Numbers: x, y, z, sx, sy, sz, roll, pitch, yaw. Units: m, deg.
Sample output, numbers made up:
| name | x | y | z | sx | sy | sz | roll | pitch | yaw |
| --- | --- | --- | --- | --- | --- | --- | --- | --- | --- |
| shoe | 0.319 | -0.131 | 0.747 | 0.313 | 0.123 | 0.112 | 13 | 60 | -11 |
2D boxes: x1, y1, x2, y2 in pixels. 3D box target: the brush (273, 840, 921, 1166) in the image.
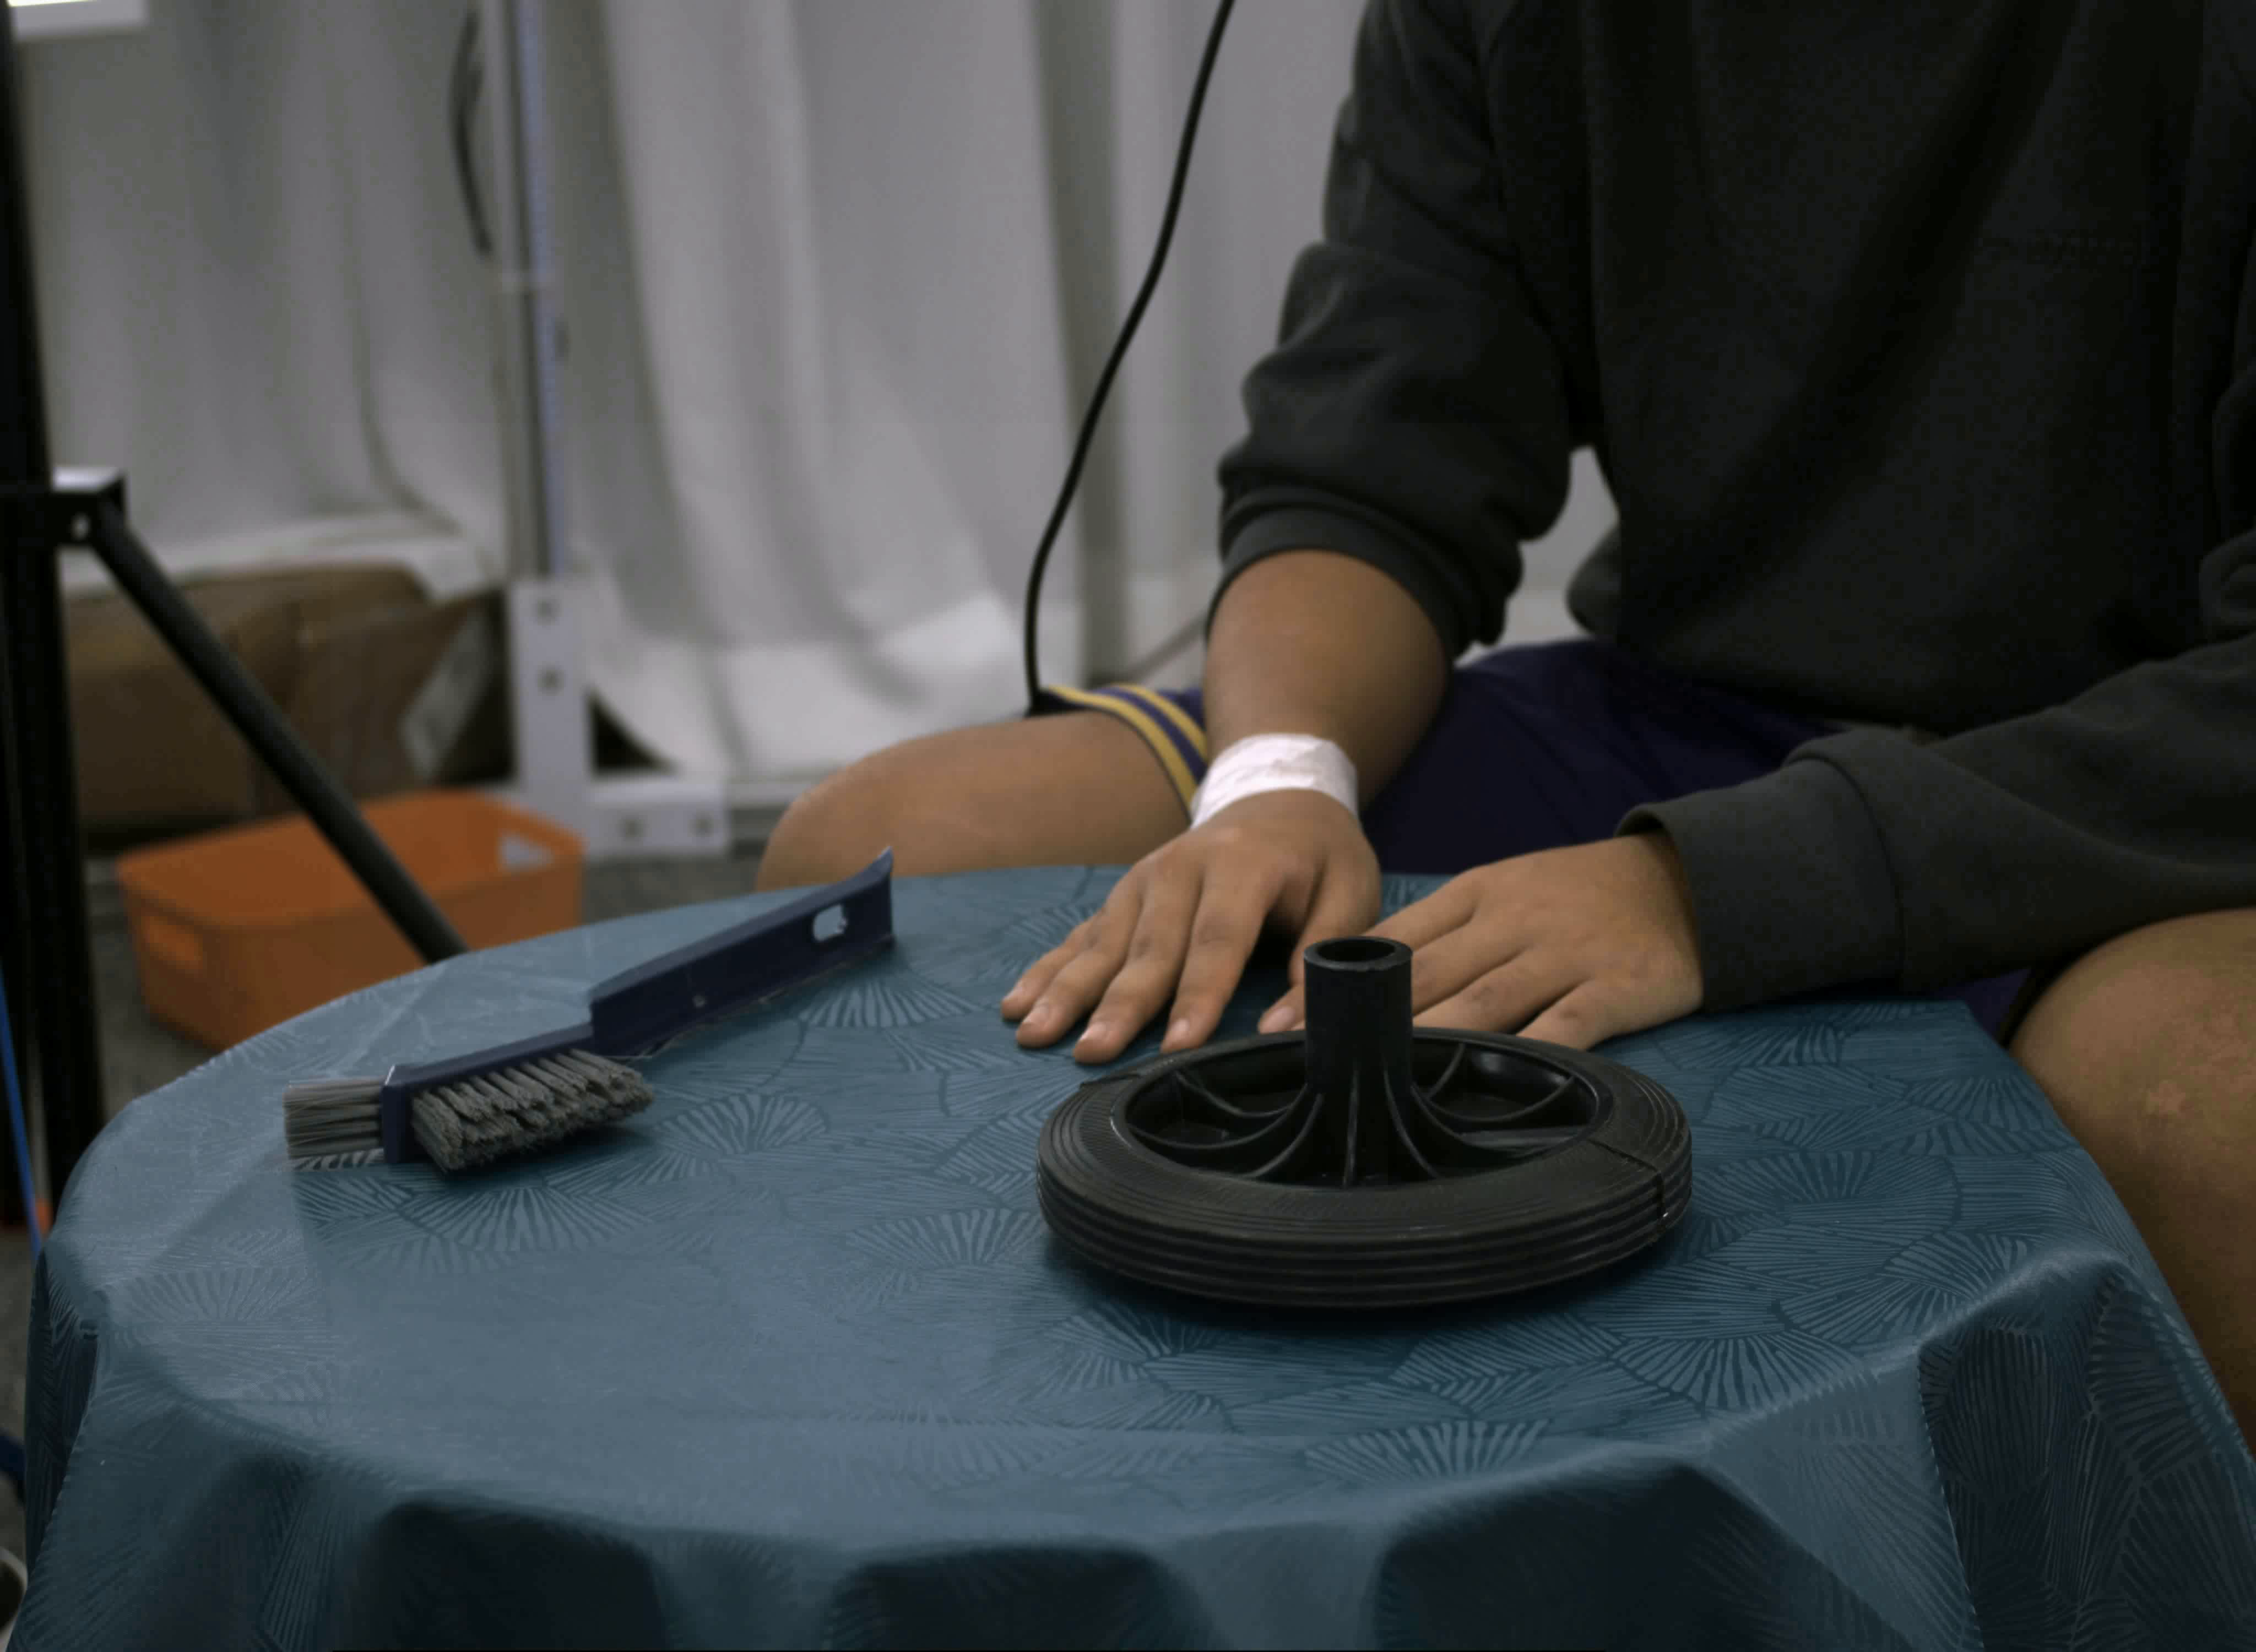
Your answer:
| name | x | y | z | sx | sy | sz | roll | pitch | yaw |
| --- | --- | --- | --- | --- | --- | --- | --- | --- | --- |
| brush | -0.159 | 0.056 | 1.713 | 0.097 | 0.033 | 0.269 | 5 | 19 | 27 |

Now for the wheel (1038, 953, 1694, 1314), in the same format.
| name | x | y | z | sx | sy | sz | roll | pitch | yaw |
| --- | --- | --- | --- | --- | --- | --- | --- | --- | --- |
| wheel | 0.068 | 0.078 | 1.513 | 0.186 | 0.079 | 0.191 | -9 | 17 | -22 |
